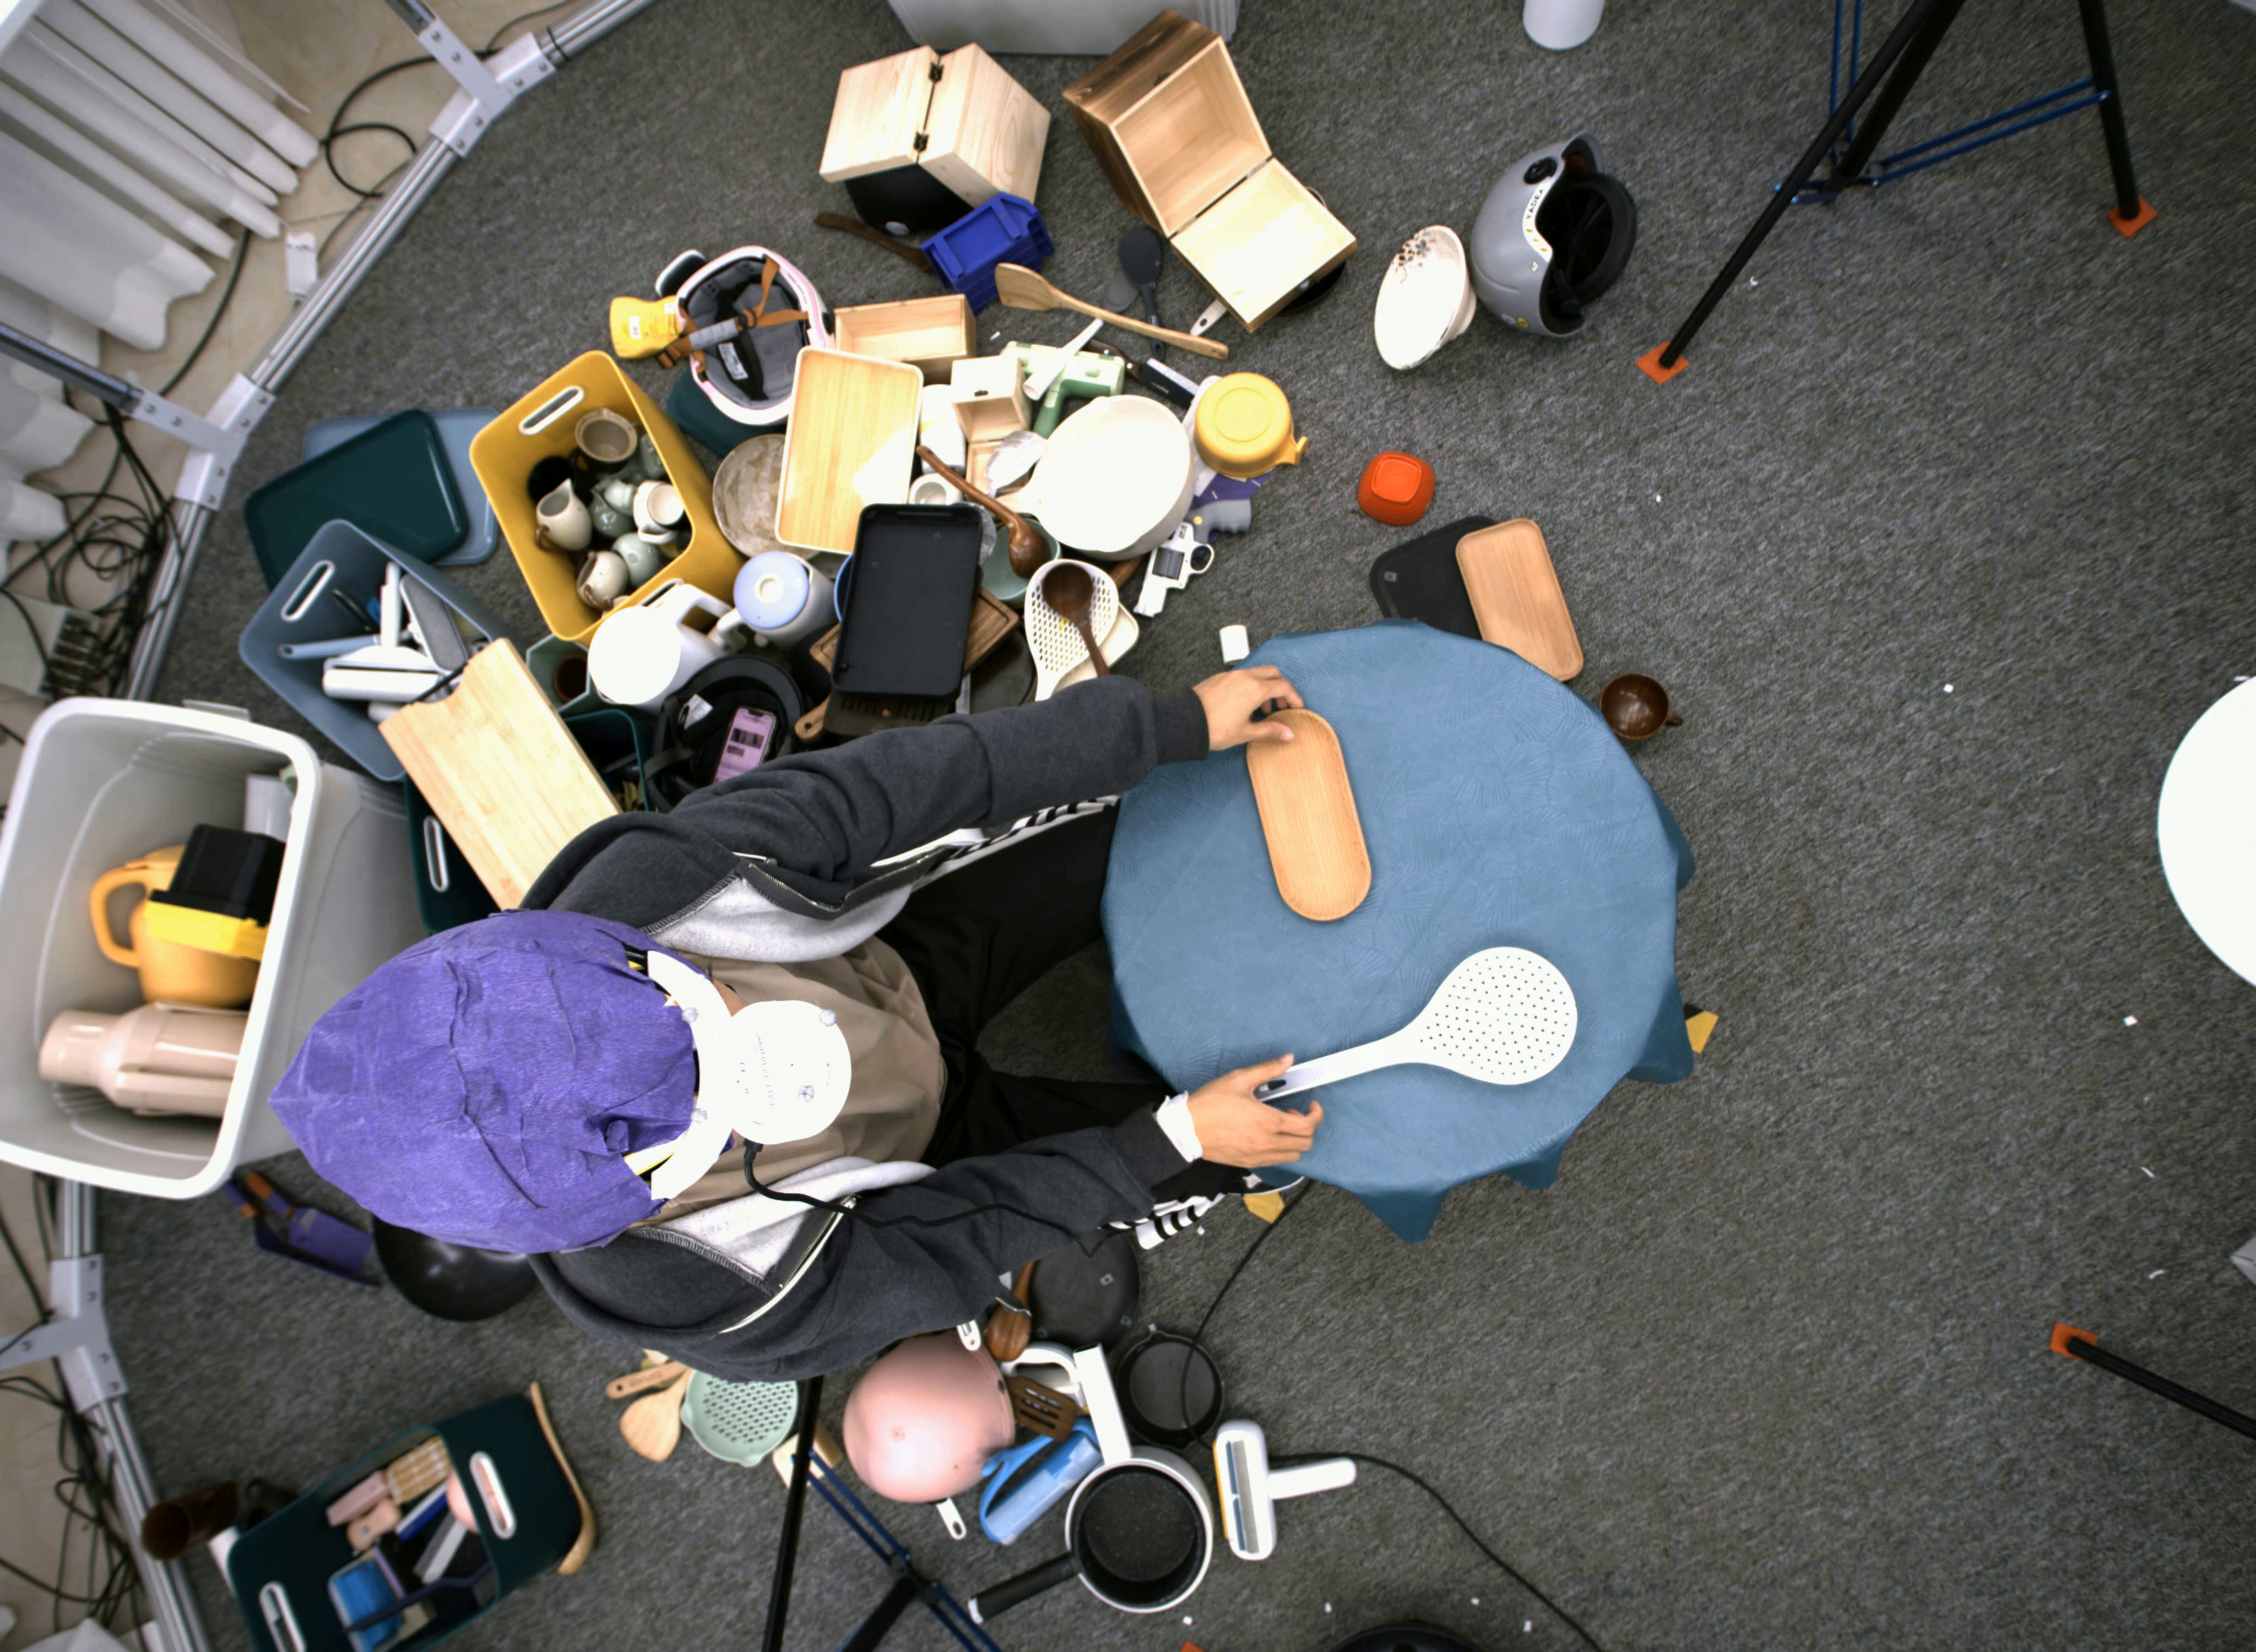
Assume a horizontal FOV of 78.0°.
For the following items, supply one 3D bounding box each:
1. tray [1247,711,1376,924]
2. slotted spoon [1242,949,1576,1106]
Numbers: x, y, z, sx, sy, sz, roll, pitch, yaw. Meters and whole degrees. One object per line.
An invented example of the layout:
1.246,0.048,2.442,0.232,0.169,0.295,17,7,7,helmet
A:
0.194,-0.011,1.470,0.102,0.020,0.230,-16,85,10,tray
0.285,0.227,1.425,0.352,0.046,0.135,-19,82,10,slotted spoon
